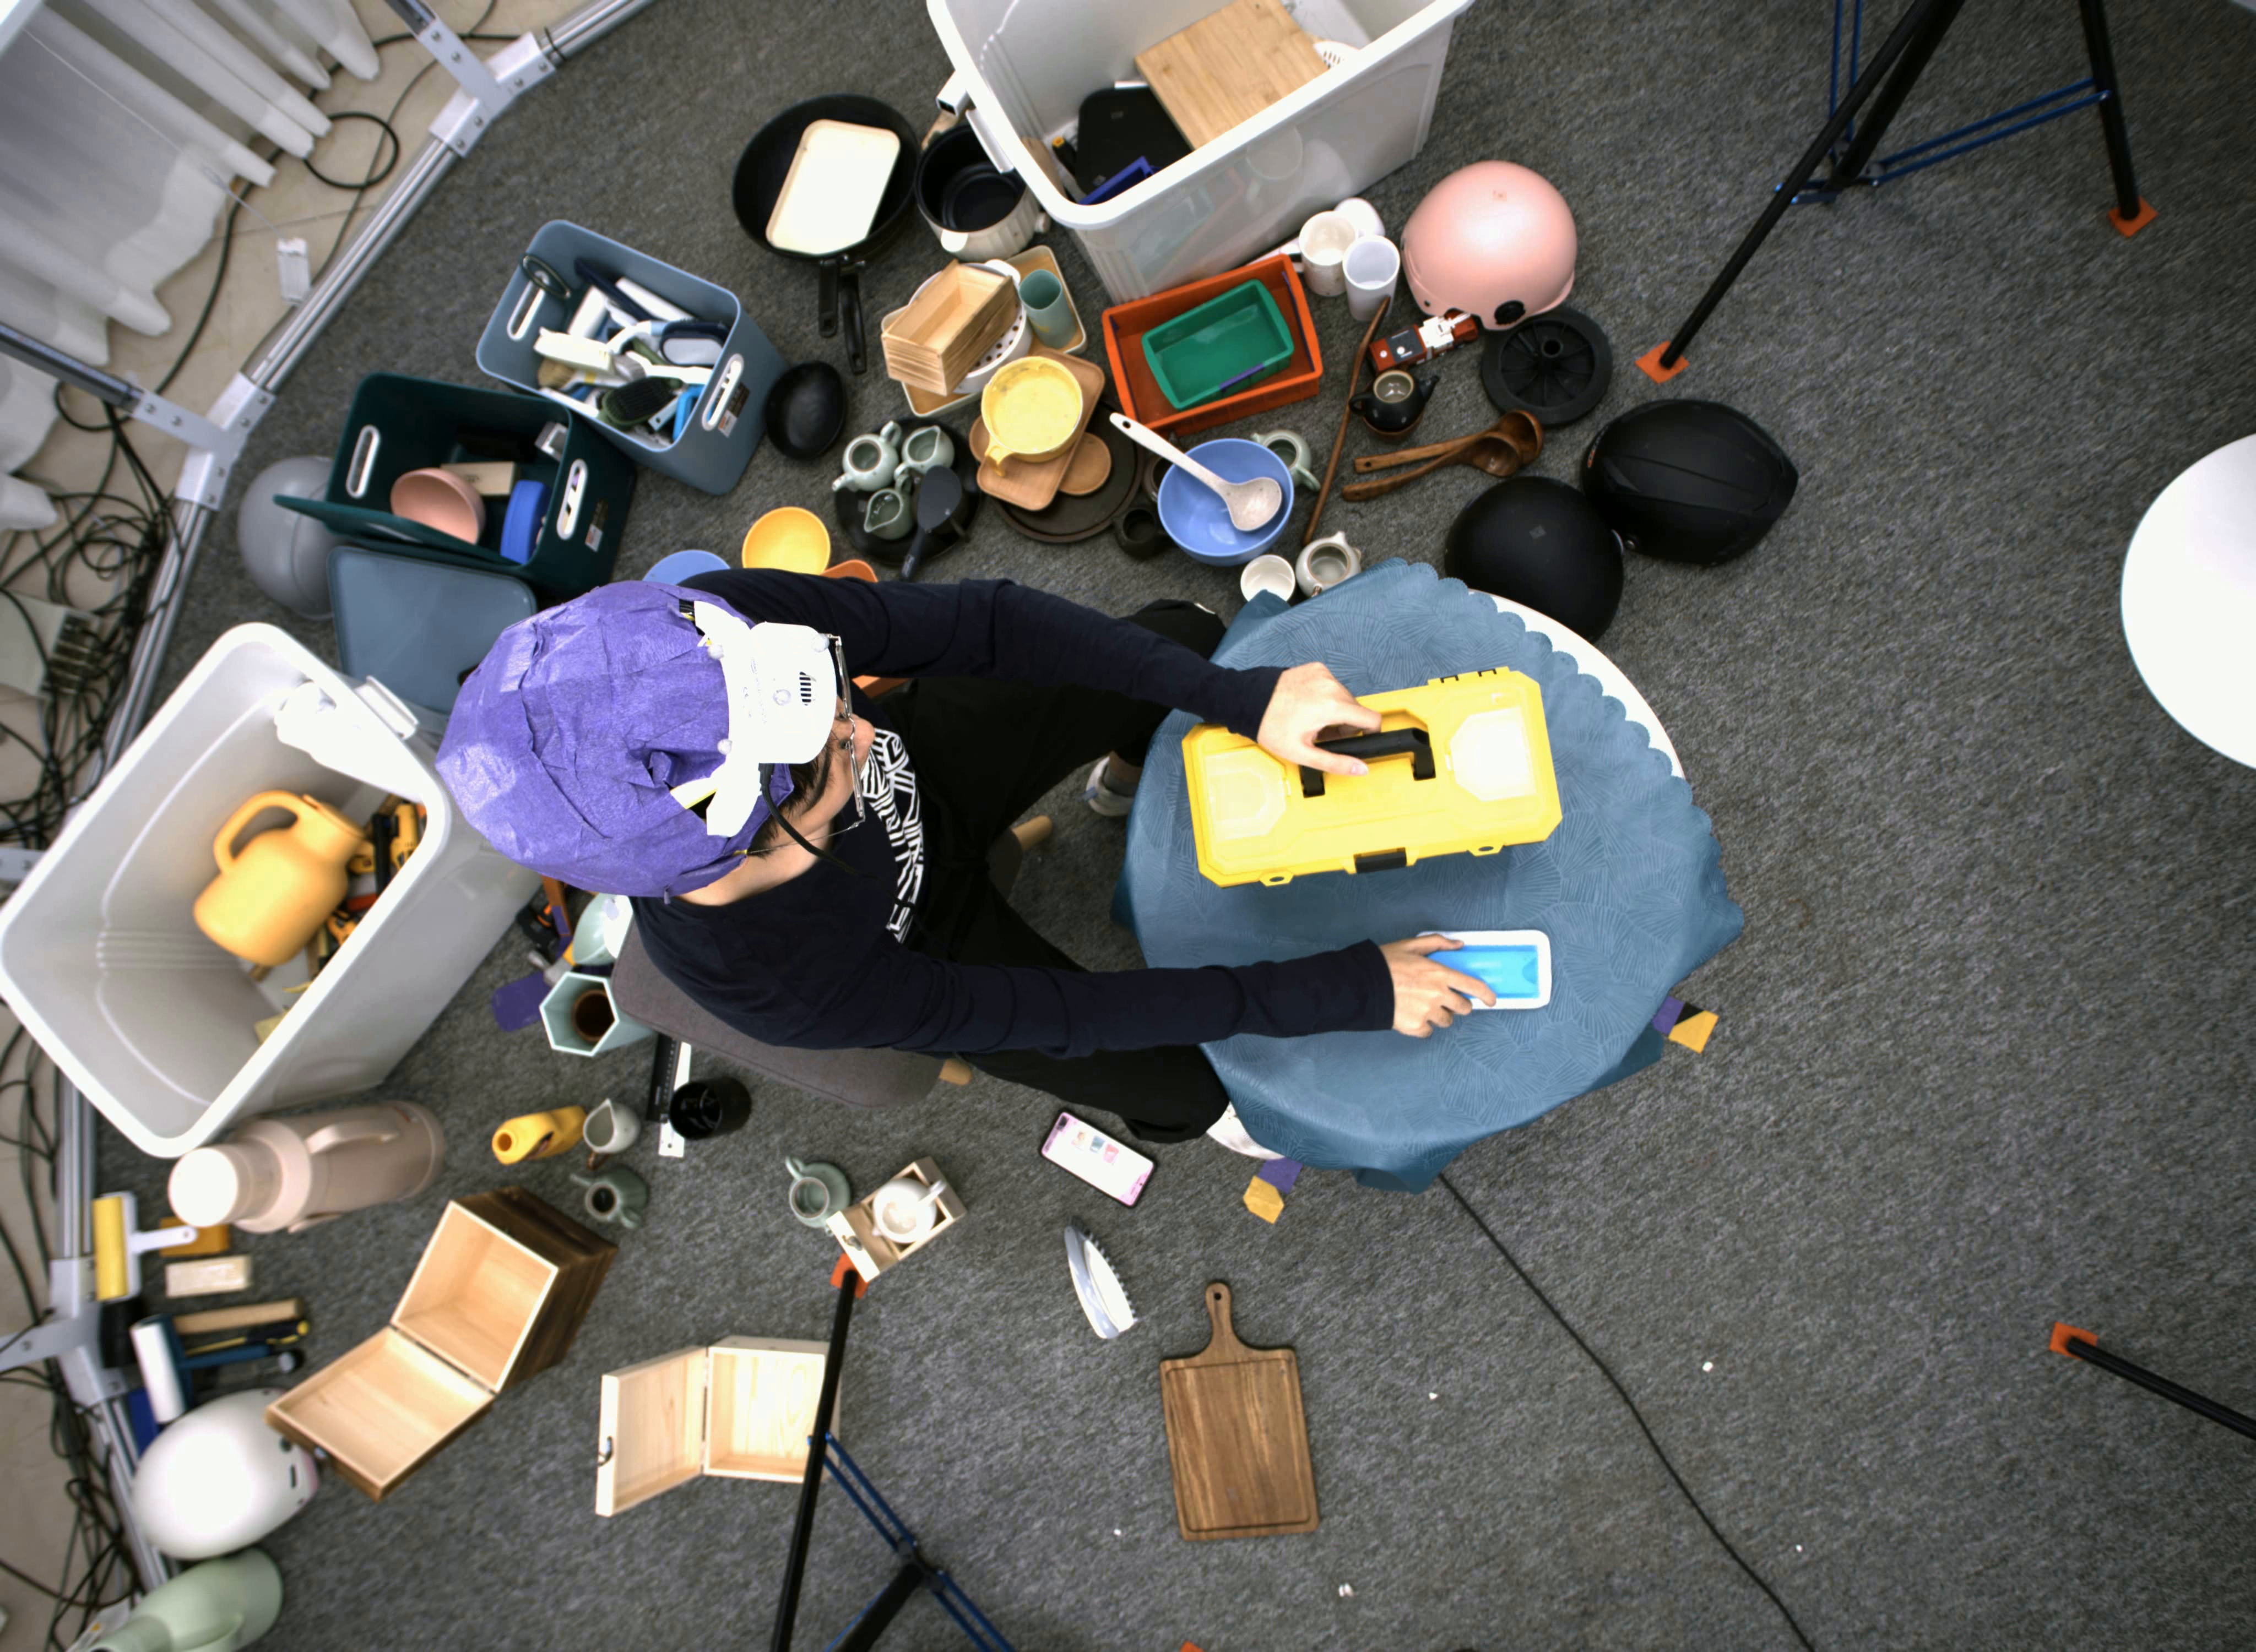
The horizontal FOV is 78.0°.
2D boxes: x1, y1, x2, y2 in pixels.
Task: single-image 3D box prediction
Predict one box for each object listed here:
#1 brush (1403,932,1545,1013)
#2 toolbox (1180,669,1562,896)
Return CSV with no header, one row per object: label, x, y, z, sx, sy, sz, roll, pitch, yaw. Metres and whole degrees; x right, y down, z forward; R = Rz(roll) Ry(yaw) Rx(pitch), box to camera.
brush,0.354,0.147,1.408,0.144,0.056,0.083,0,83,8
toolbox,0.240,-0.039,1.381,0.353,0.173,0.180,-9,84,10
